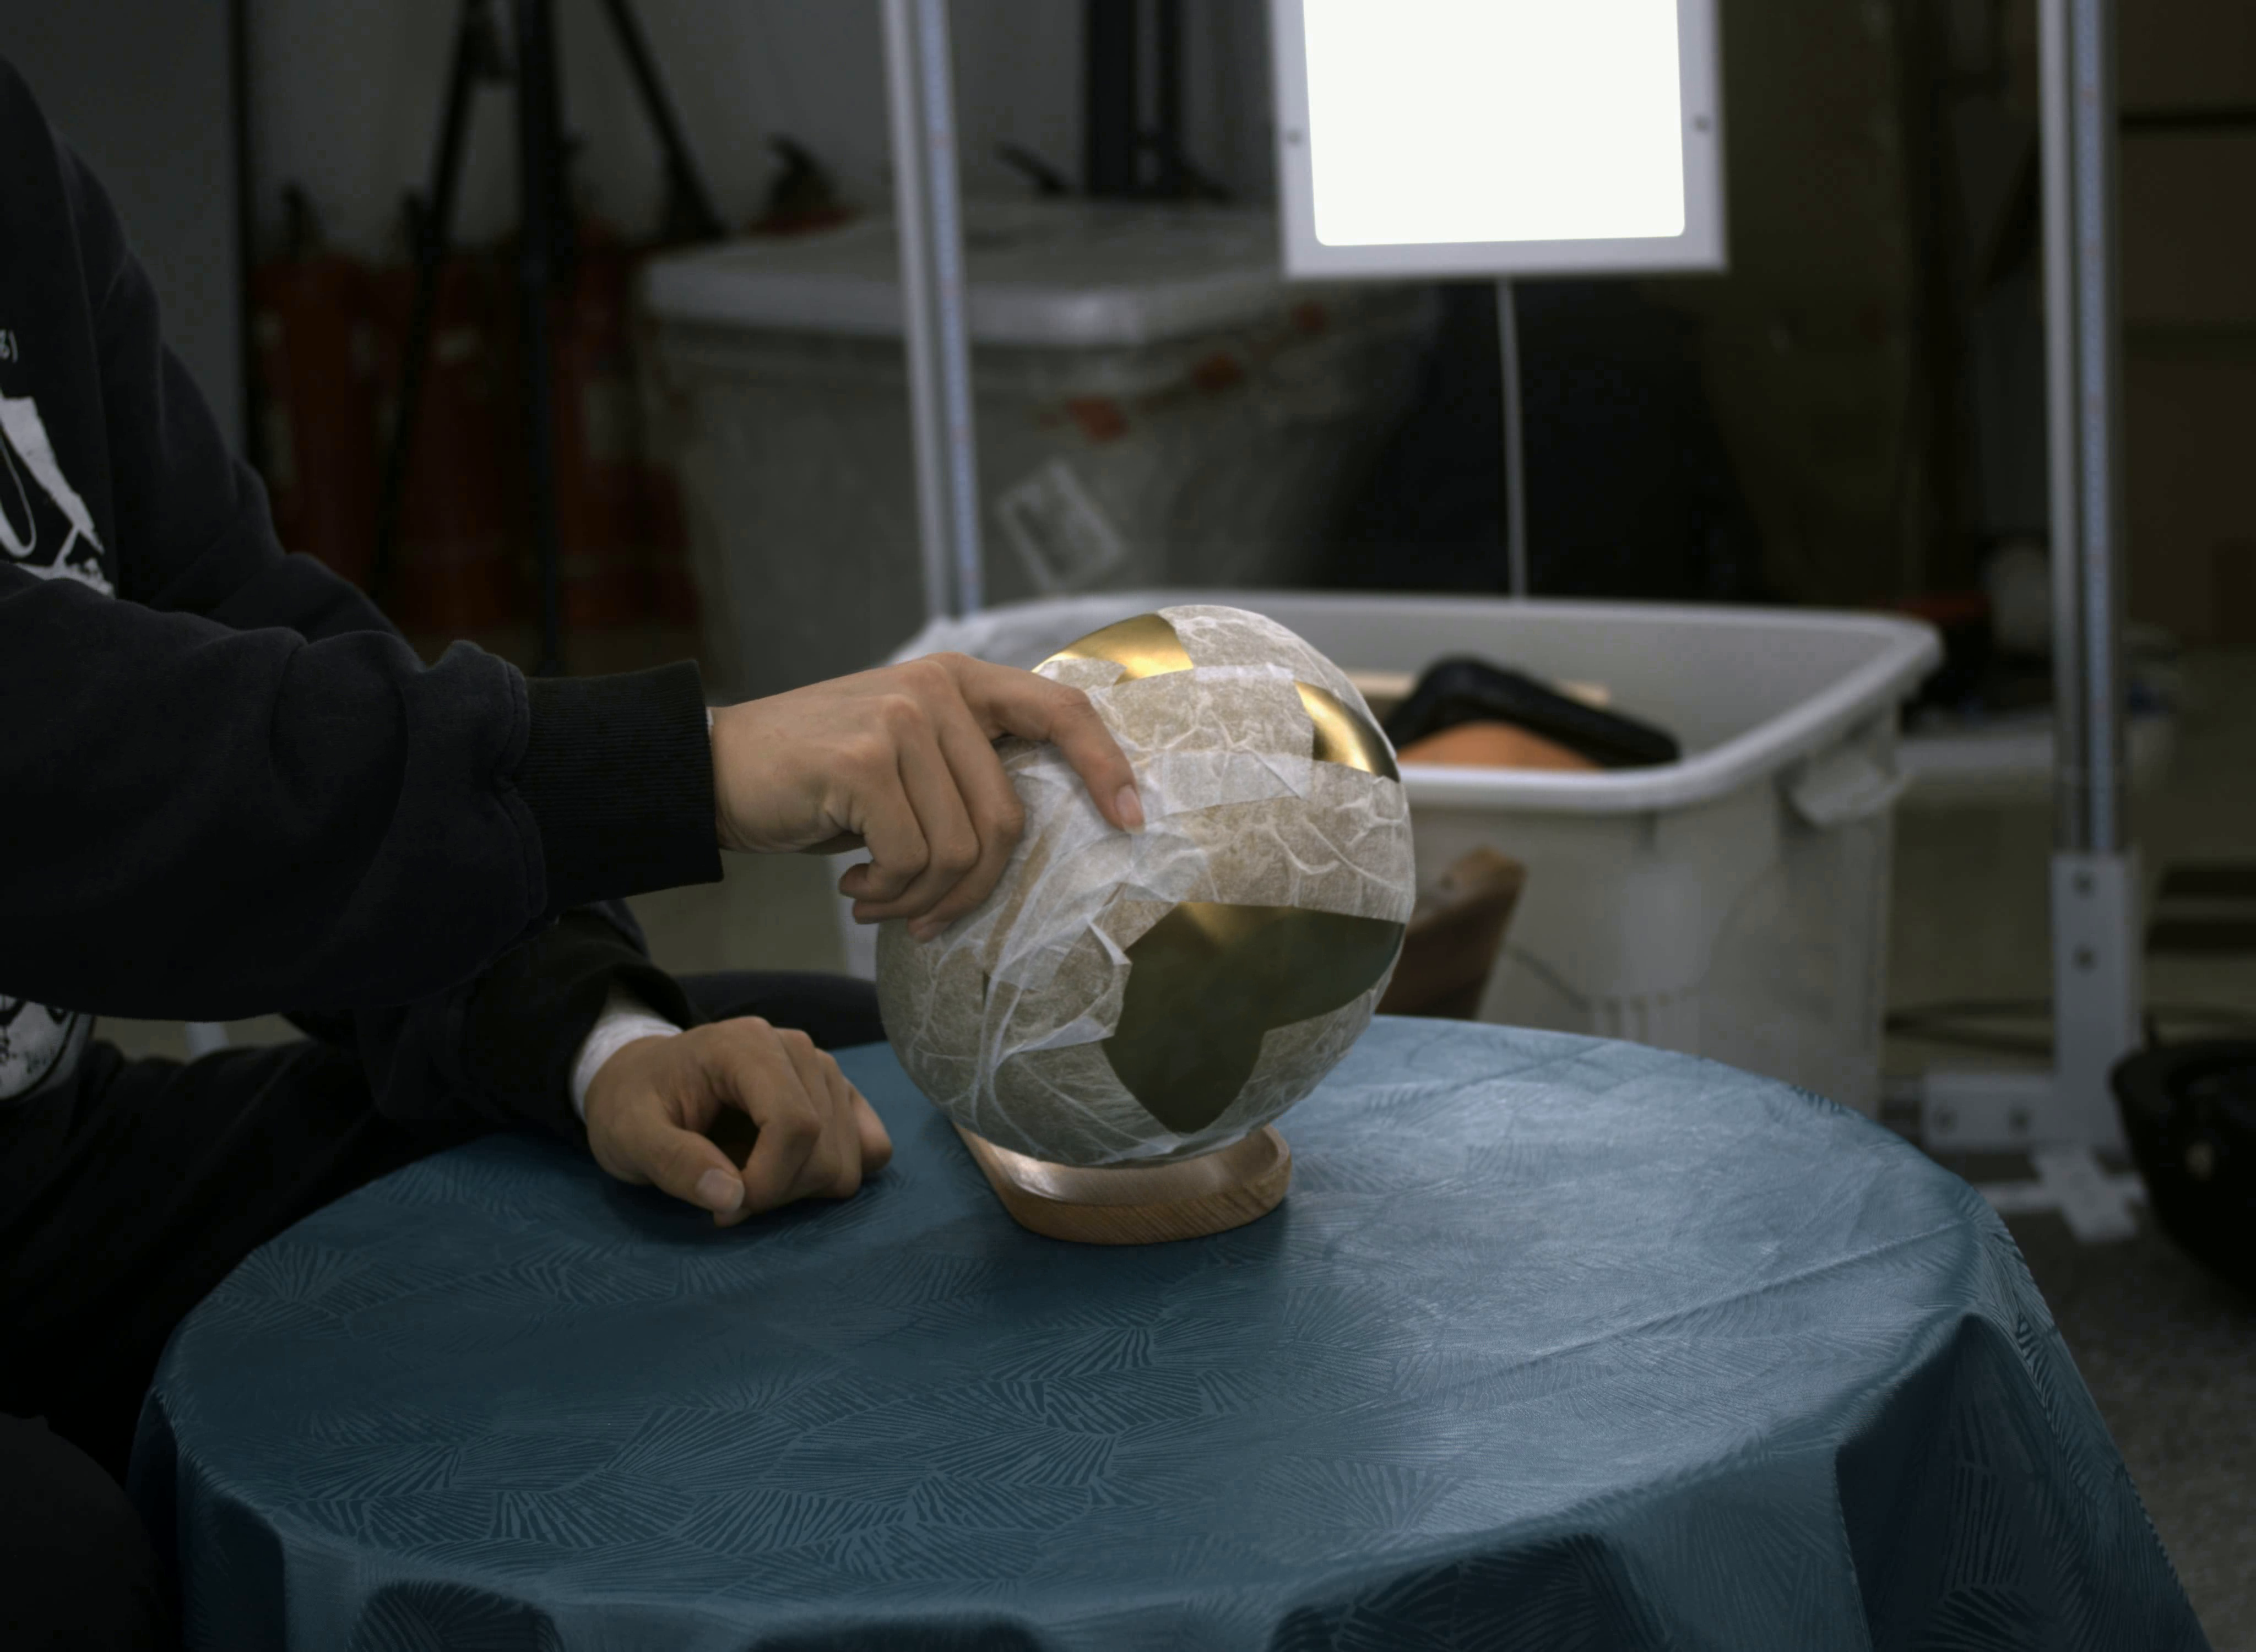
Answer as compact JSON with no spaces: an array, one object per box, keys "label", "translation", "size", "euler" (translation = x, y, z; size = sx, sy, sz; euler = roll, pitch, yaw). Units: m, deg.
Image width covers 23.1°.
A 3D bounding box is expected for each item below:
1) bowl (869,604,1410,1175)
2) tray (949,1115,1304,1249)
[{"label":"bowl","translation":[0.019,0.039,1.833],"size":[0.209,0.216,0.096],"euler":[-13,35,-33]},{"label":"tray","translation":[-0.004,0.108,1.943],"size":[0.100,0.020,0.233],"euler":[-10,16,-10]}]
